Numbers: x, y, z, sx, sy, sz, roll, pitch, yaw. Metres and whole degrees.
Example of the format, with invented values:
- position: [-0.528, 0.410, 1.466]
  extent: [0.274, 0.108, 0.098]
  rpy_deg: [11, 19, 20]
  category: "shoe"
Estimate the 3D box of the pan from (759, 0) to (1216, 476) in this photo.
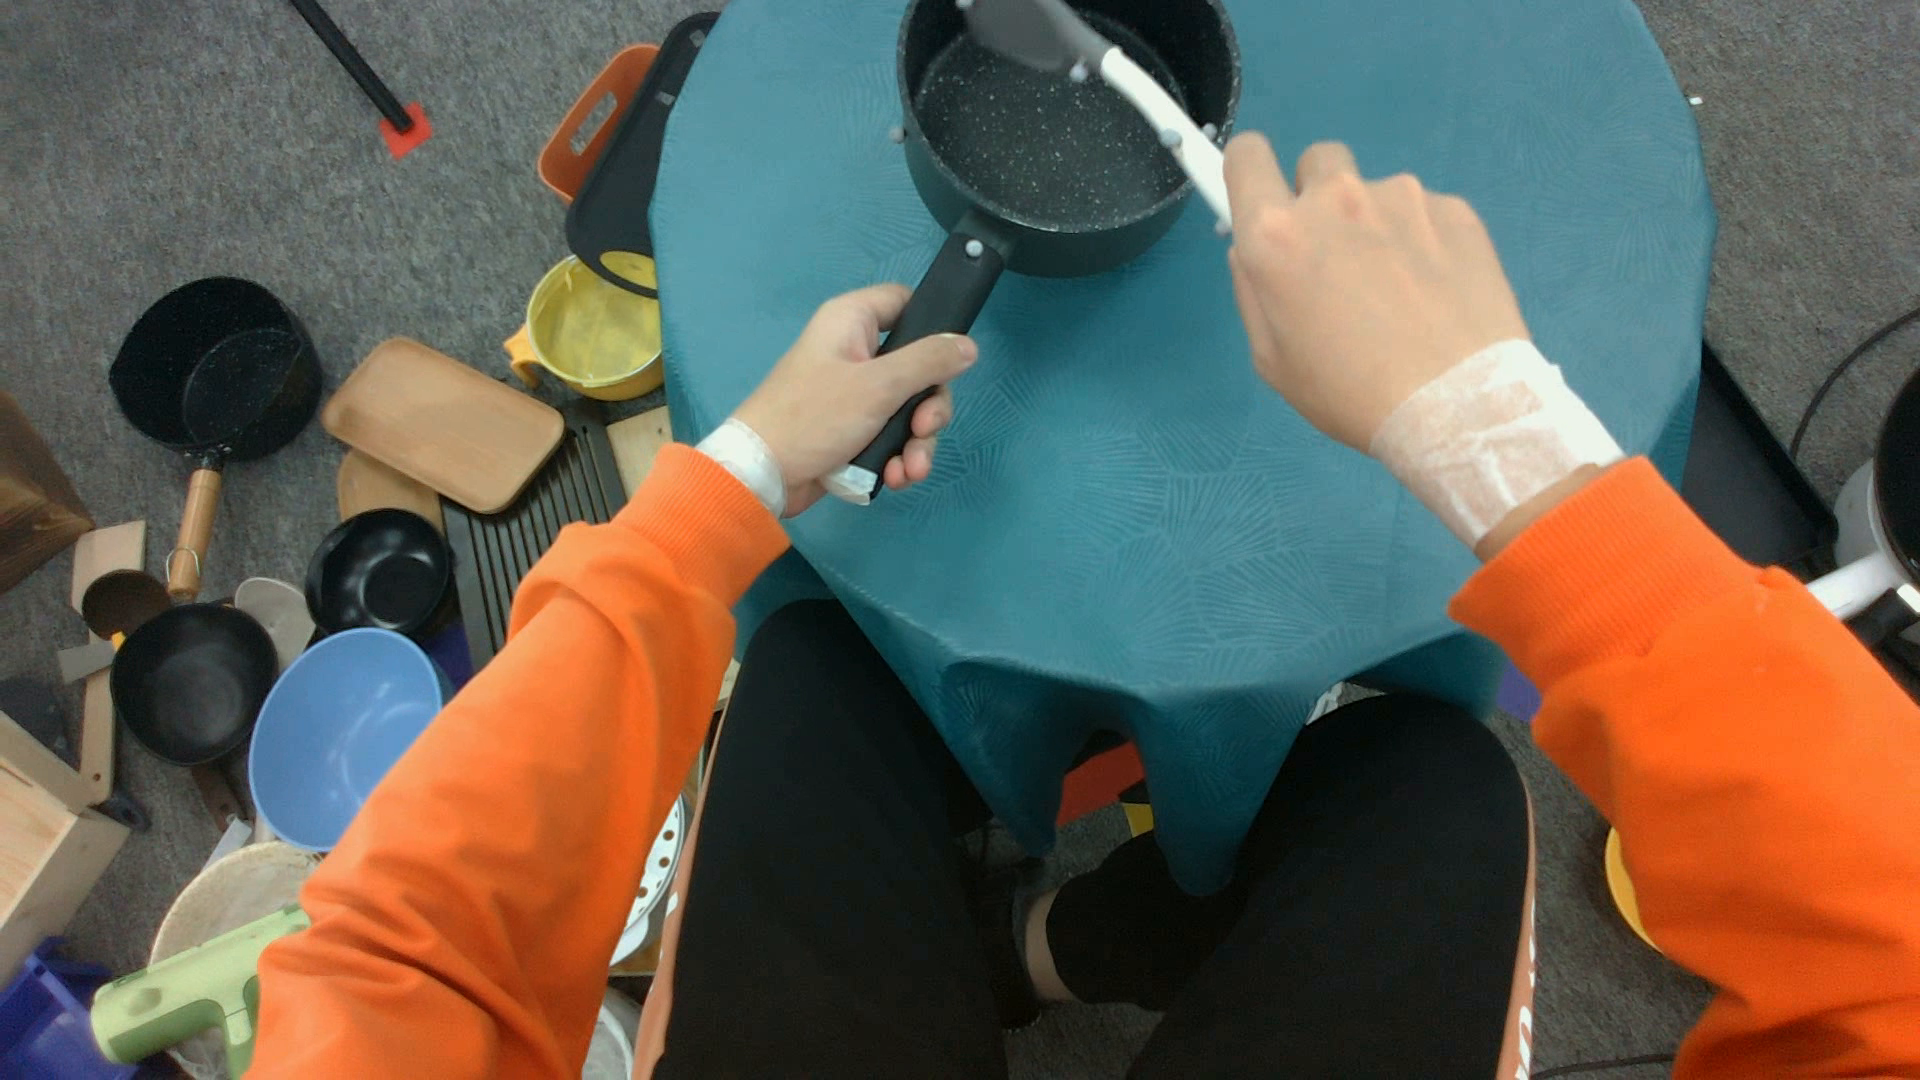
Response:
- position: [0.002, -0.165, 0.696]
  extent: [0.172, 0.086, 0.329]
  rpy_deg: [30, 76, 3]
  category: "pan"

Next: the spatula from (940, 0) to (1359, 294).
- position: [0.067, -0.195, 0.601]
  extent: [0.032, 0.058, 0.288]
  rpy_deg: [-31, 53, -10]
  category: "spatula"
